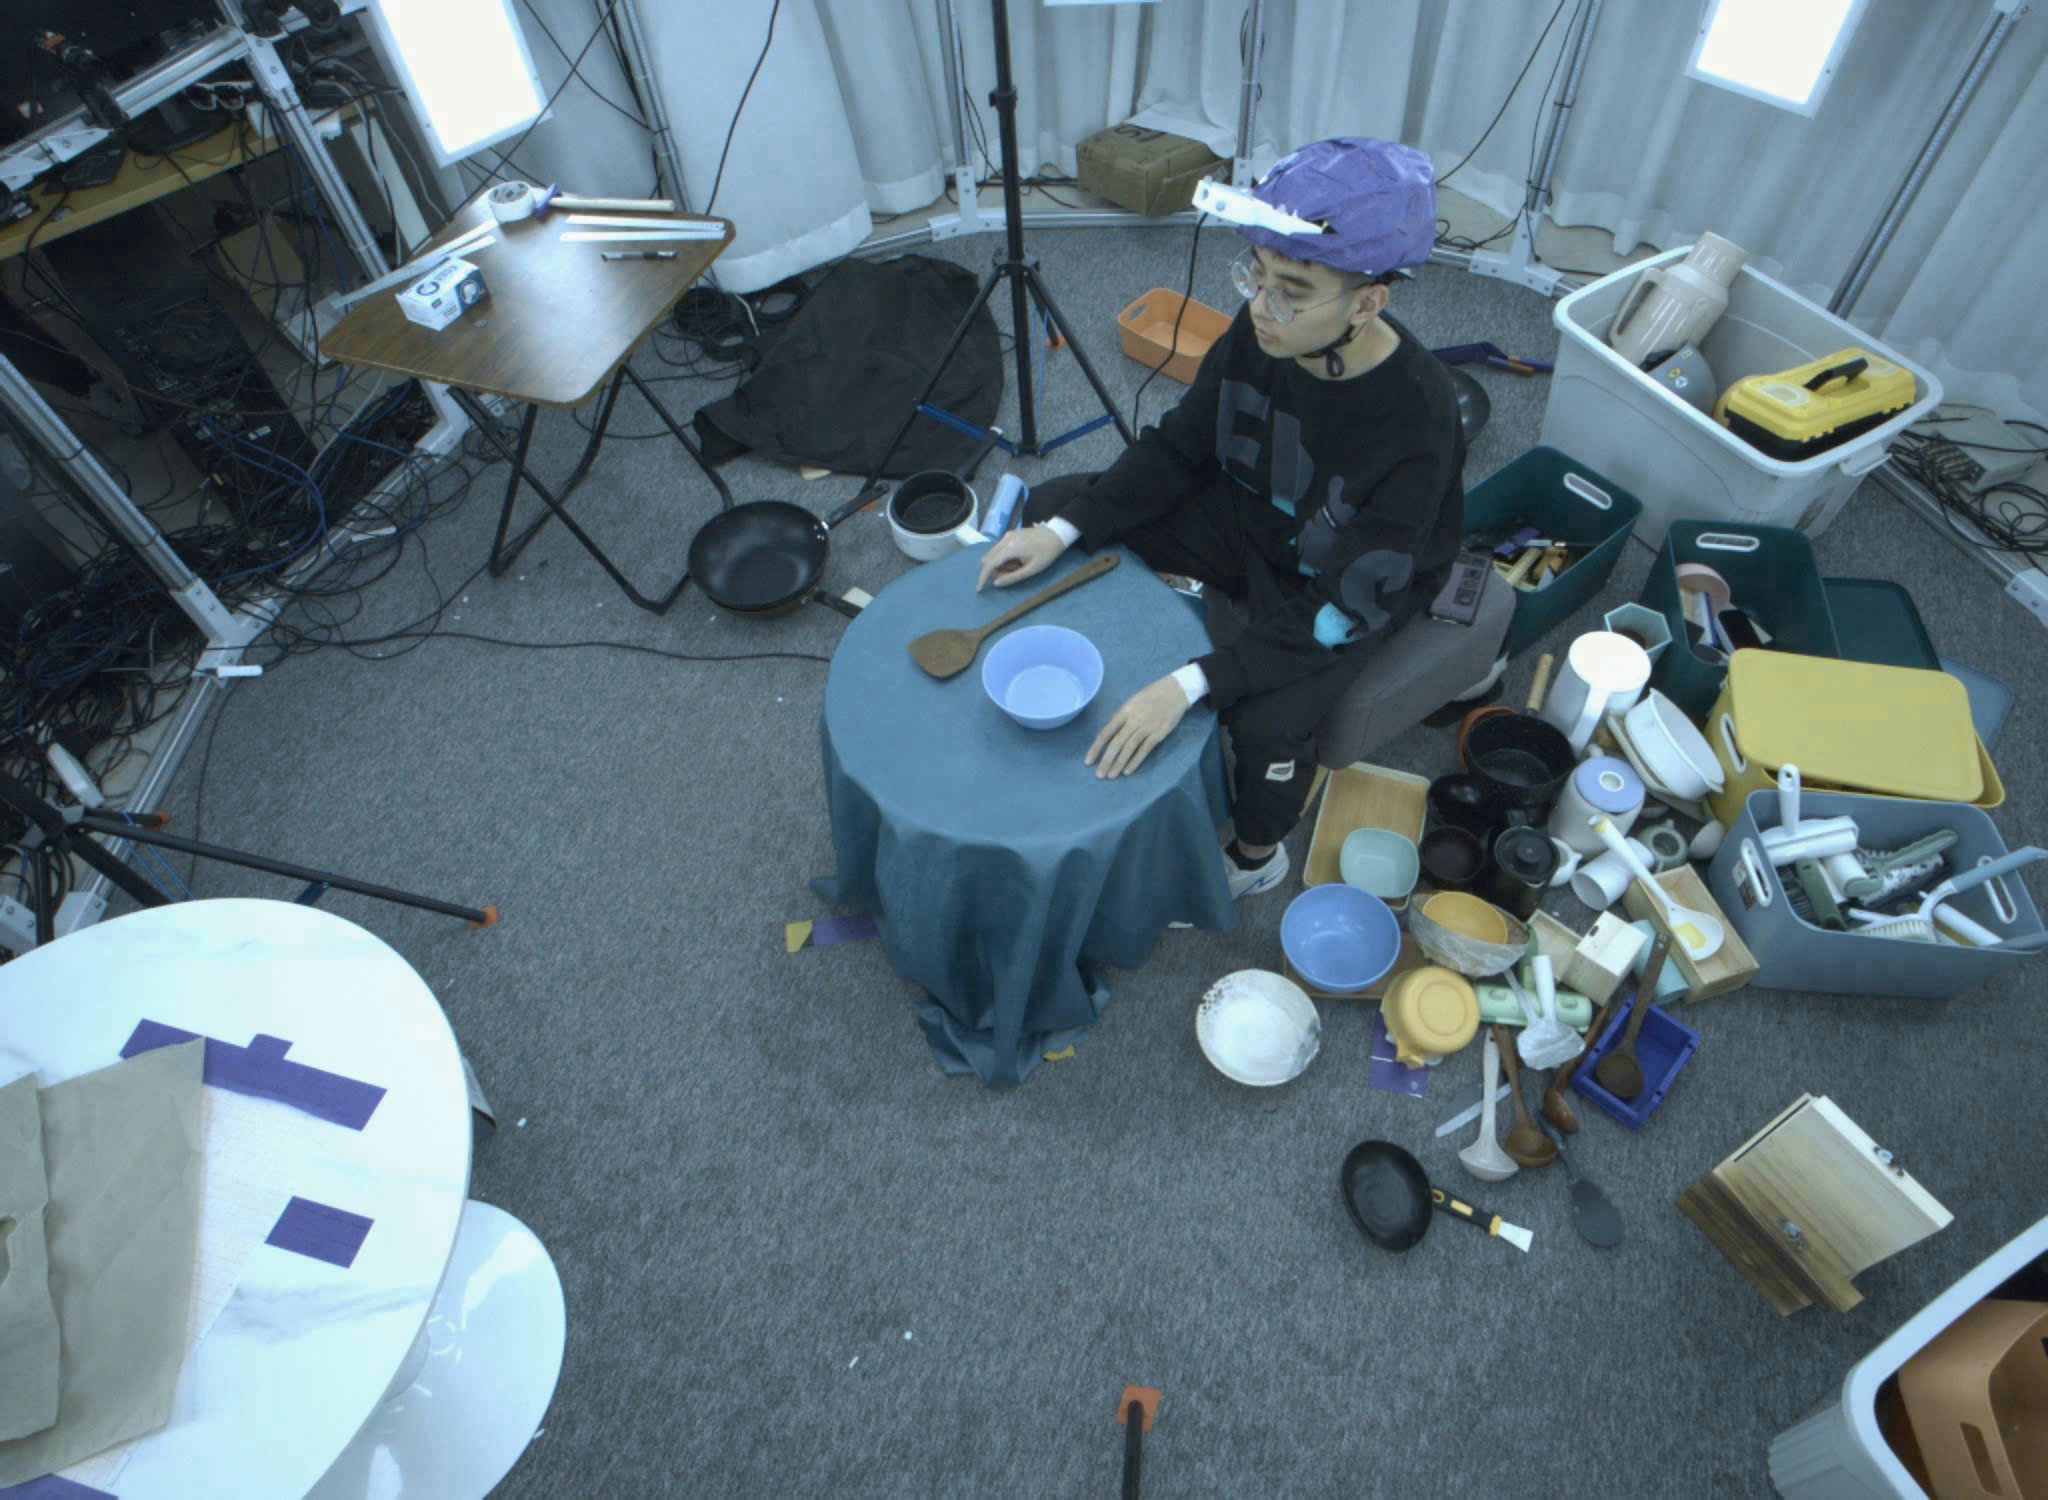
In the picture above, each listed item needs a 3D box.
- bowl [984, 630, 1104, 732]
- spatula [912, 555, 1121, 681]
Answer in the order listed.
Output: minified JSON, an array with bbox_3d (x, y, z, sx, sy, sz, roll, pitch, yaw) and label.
[{"bbox_3d":[0.029,-0.092,1.819,0.176,0.071,0.174,0,54,1],"label":"bowl"},{"bbox_3d":[-0.002,-0.221,1.945,0.389,0.016,0.094,-32,60,-19],"label":"spatula"}]
